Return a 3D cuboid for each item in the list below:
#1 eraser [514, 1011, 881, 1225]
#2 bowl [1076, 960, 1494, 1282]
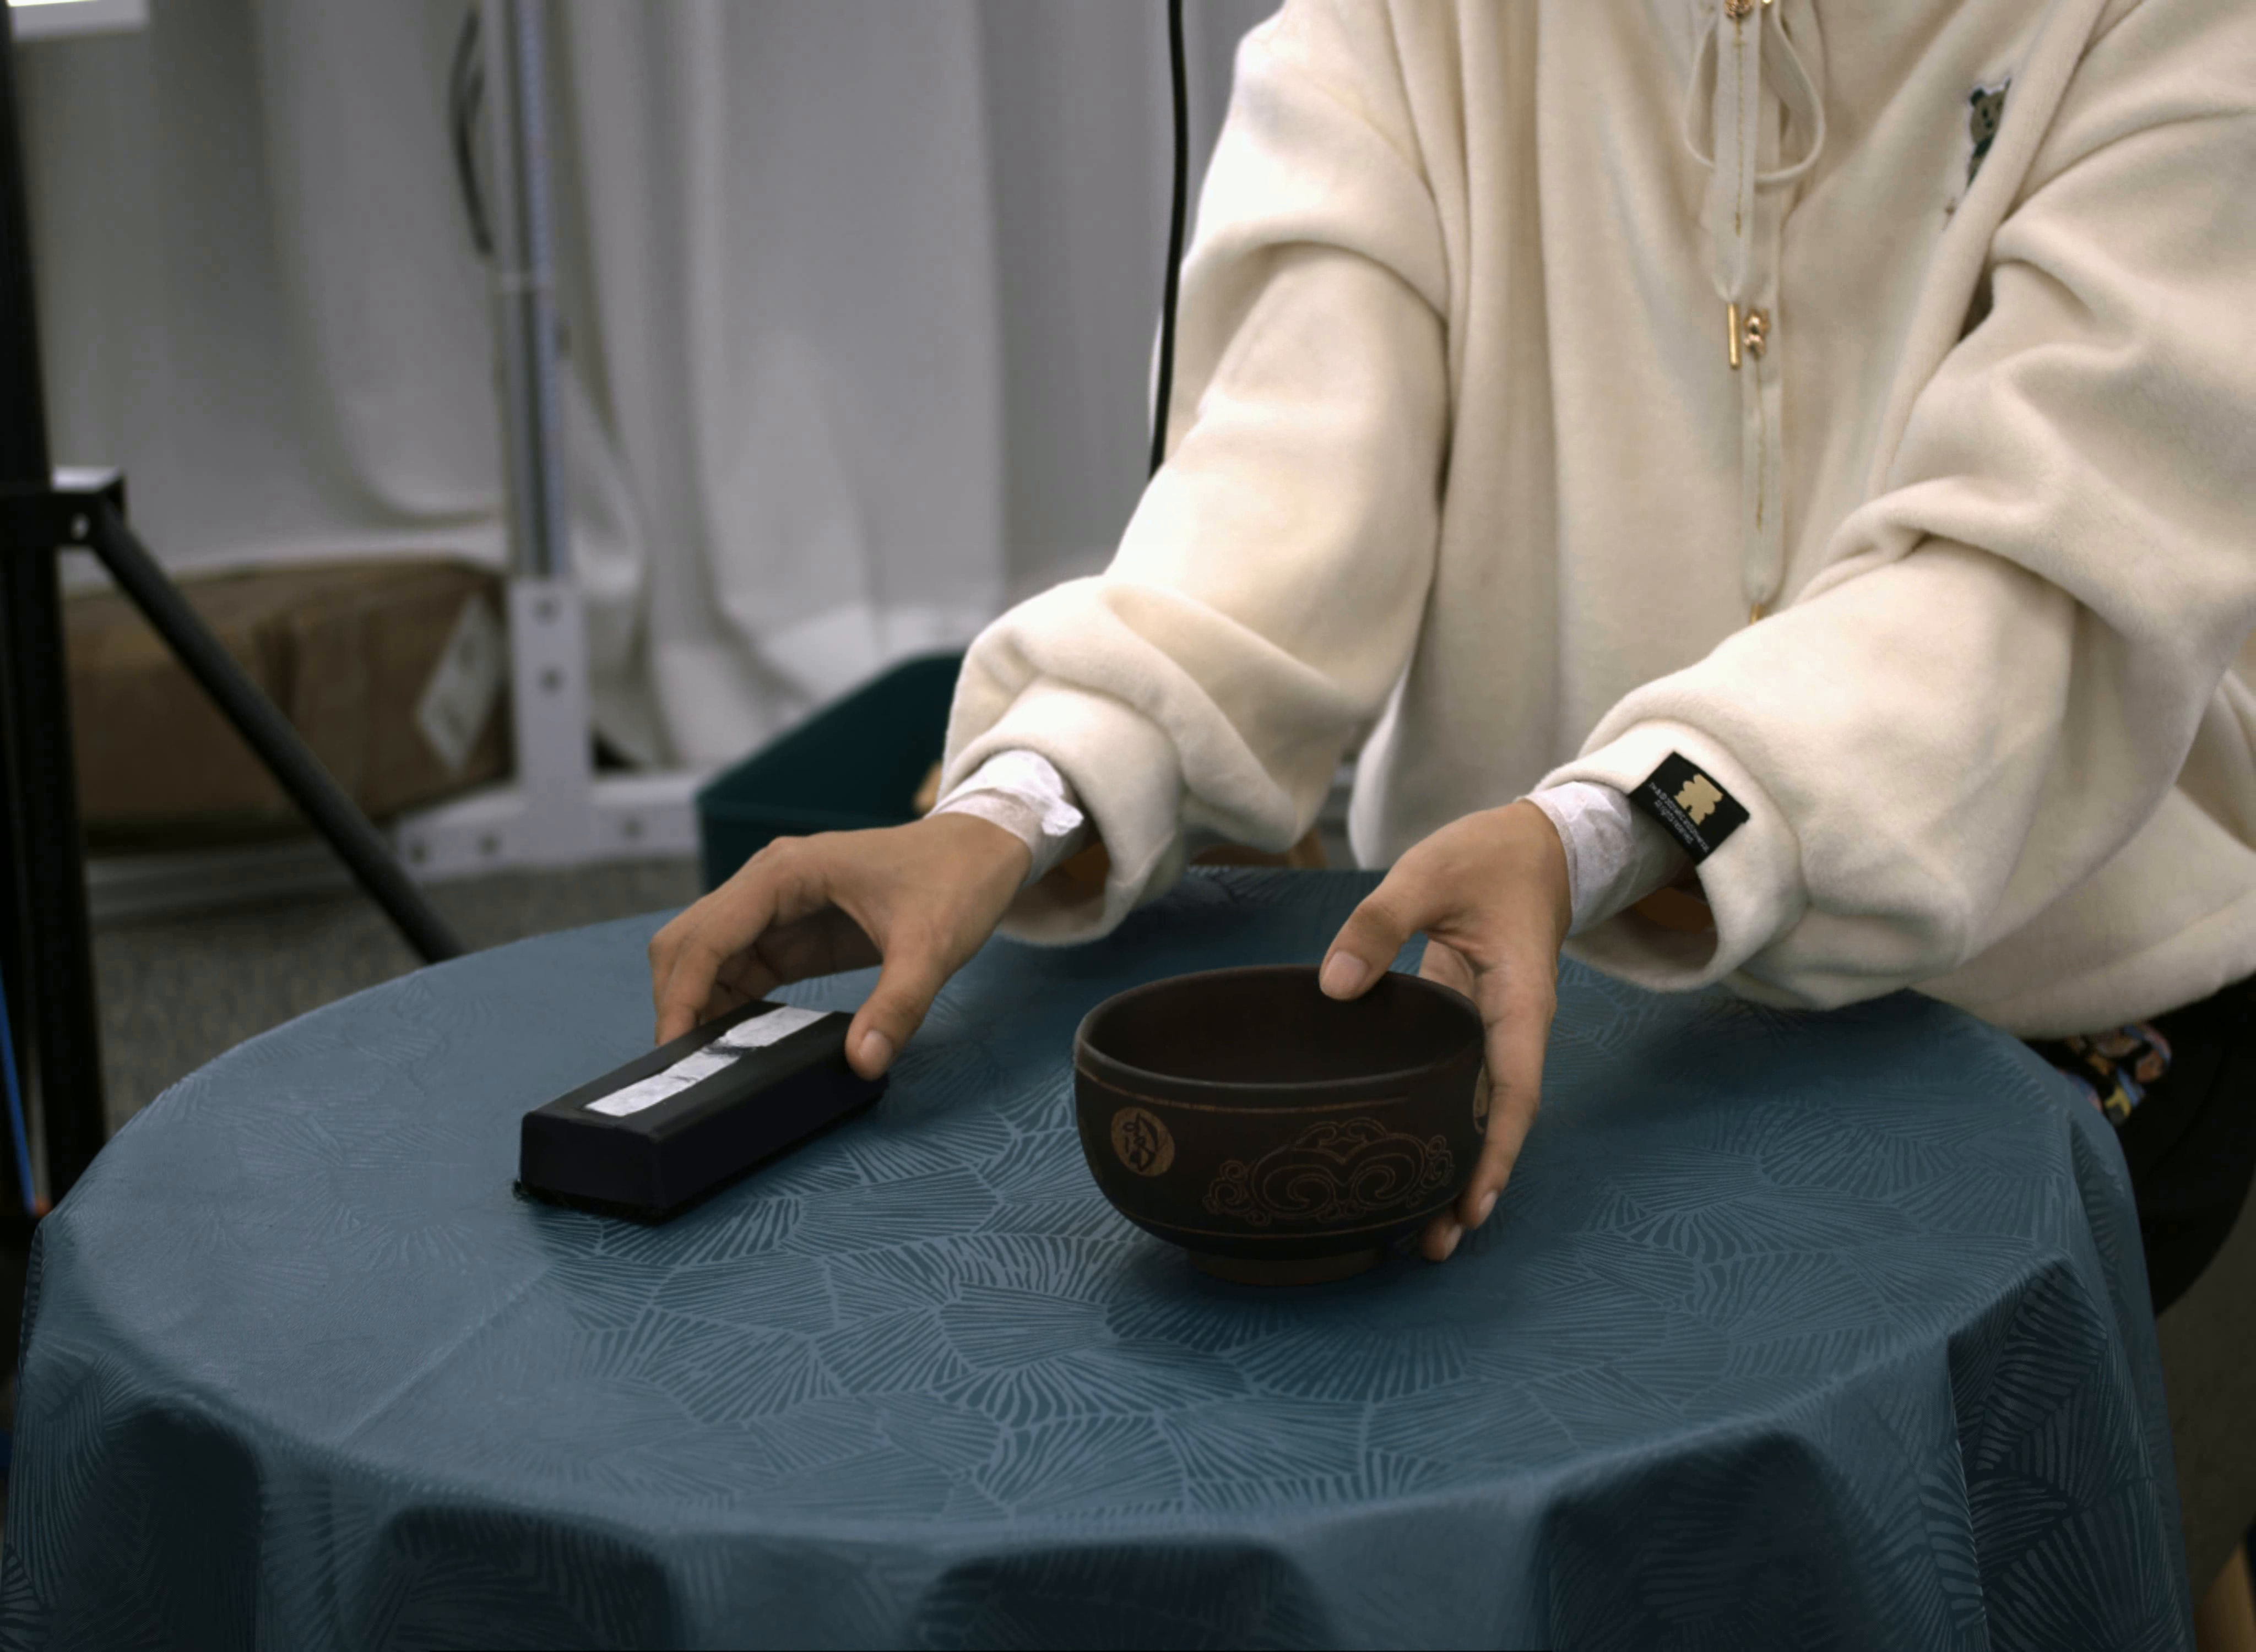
[{"bbox_3d":[-0.128,0.087,1.605,0.054,0.030,0.123,8,16,29],"label":"eraser"},{"bbox_3d":[0.045,0.087,1.493,0.117,0.070,0.118,-2,14,-1],"label":"bowl"}]
